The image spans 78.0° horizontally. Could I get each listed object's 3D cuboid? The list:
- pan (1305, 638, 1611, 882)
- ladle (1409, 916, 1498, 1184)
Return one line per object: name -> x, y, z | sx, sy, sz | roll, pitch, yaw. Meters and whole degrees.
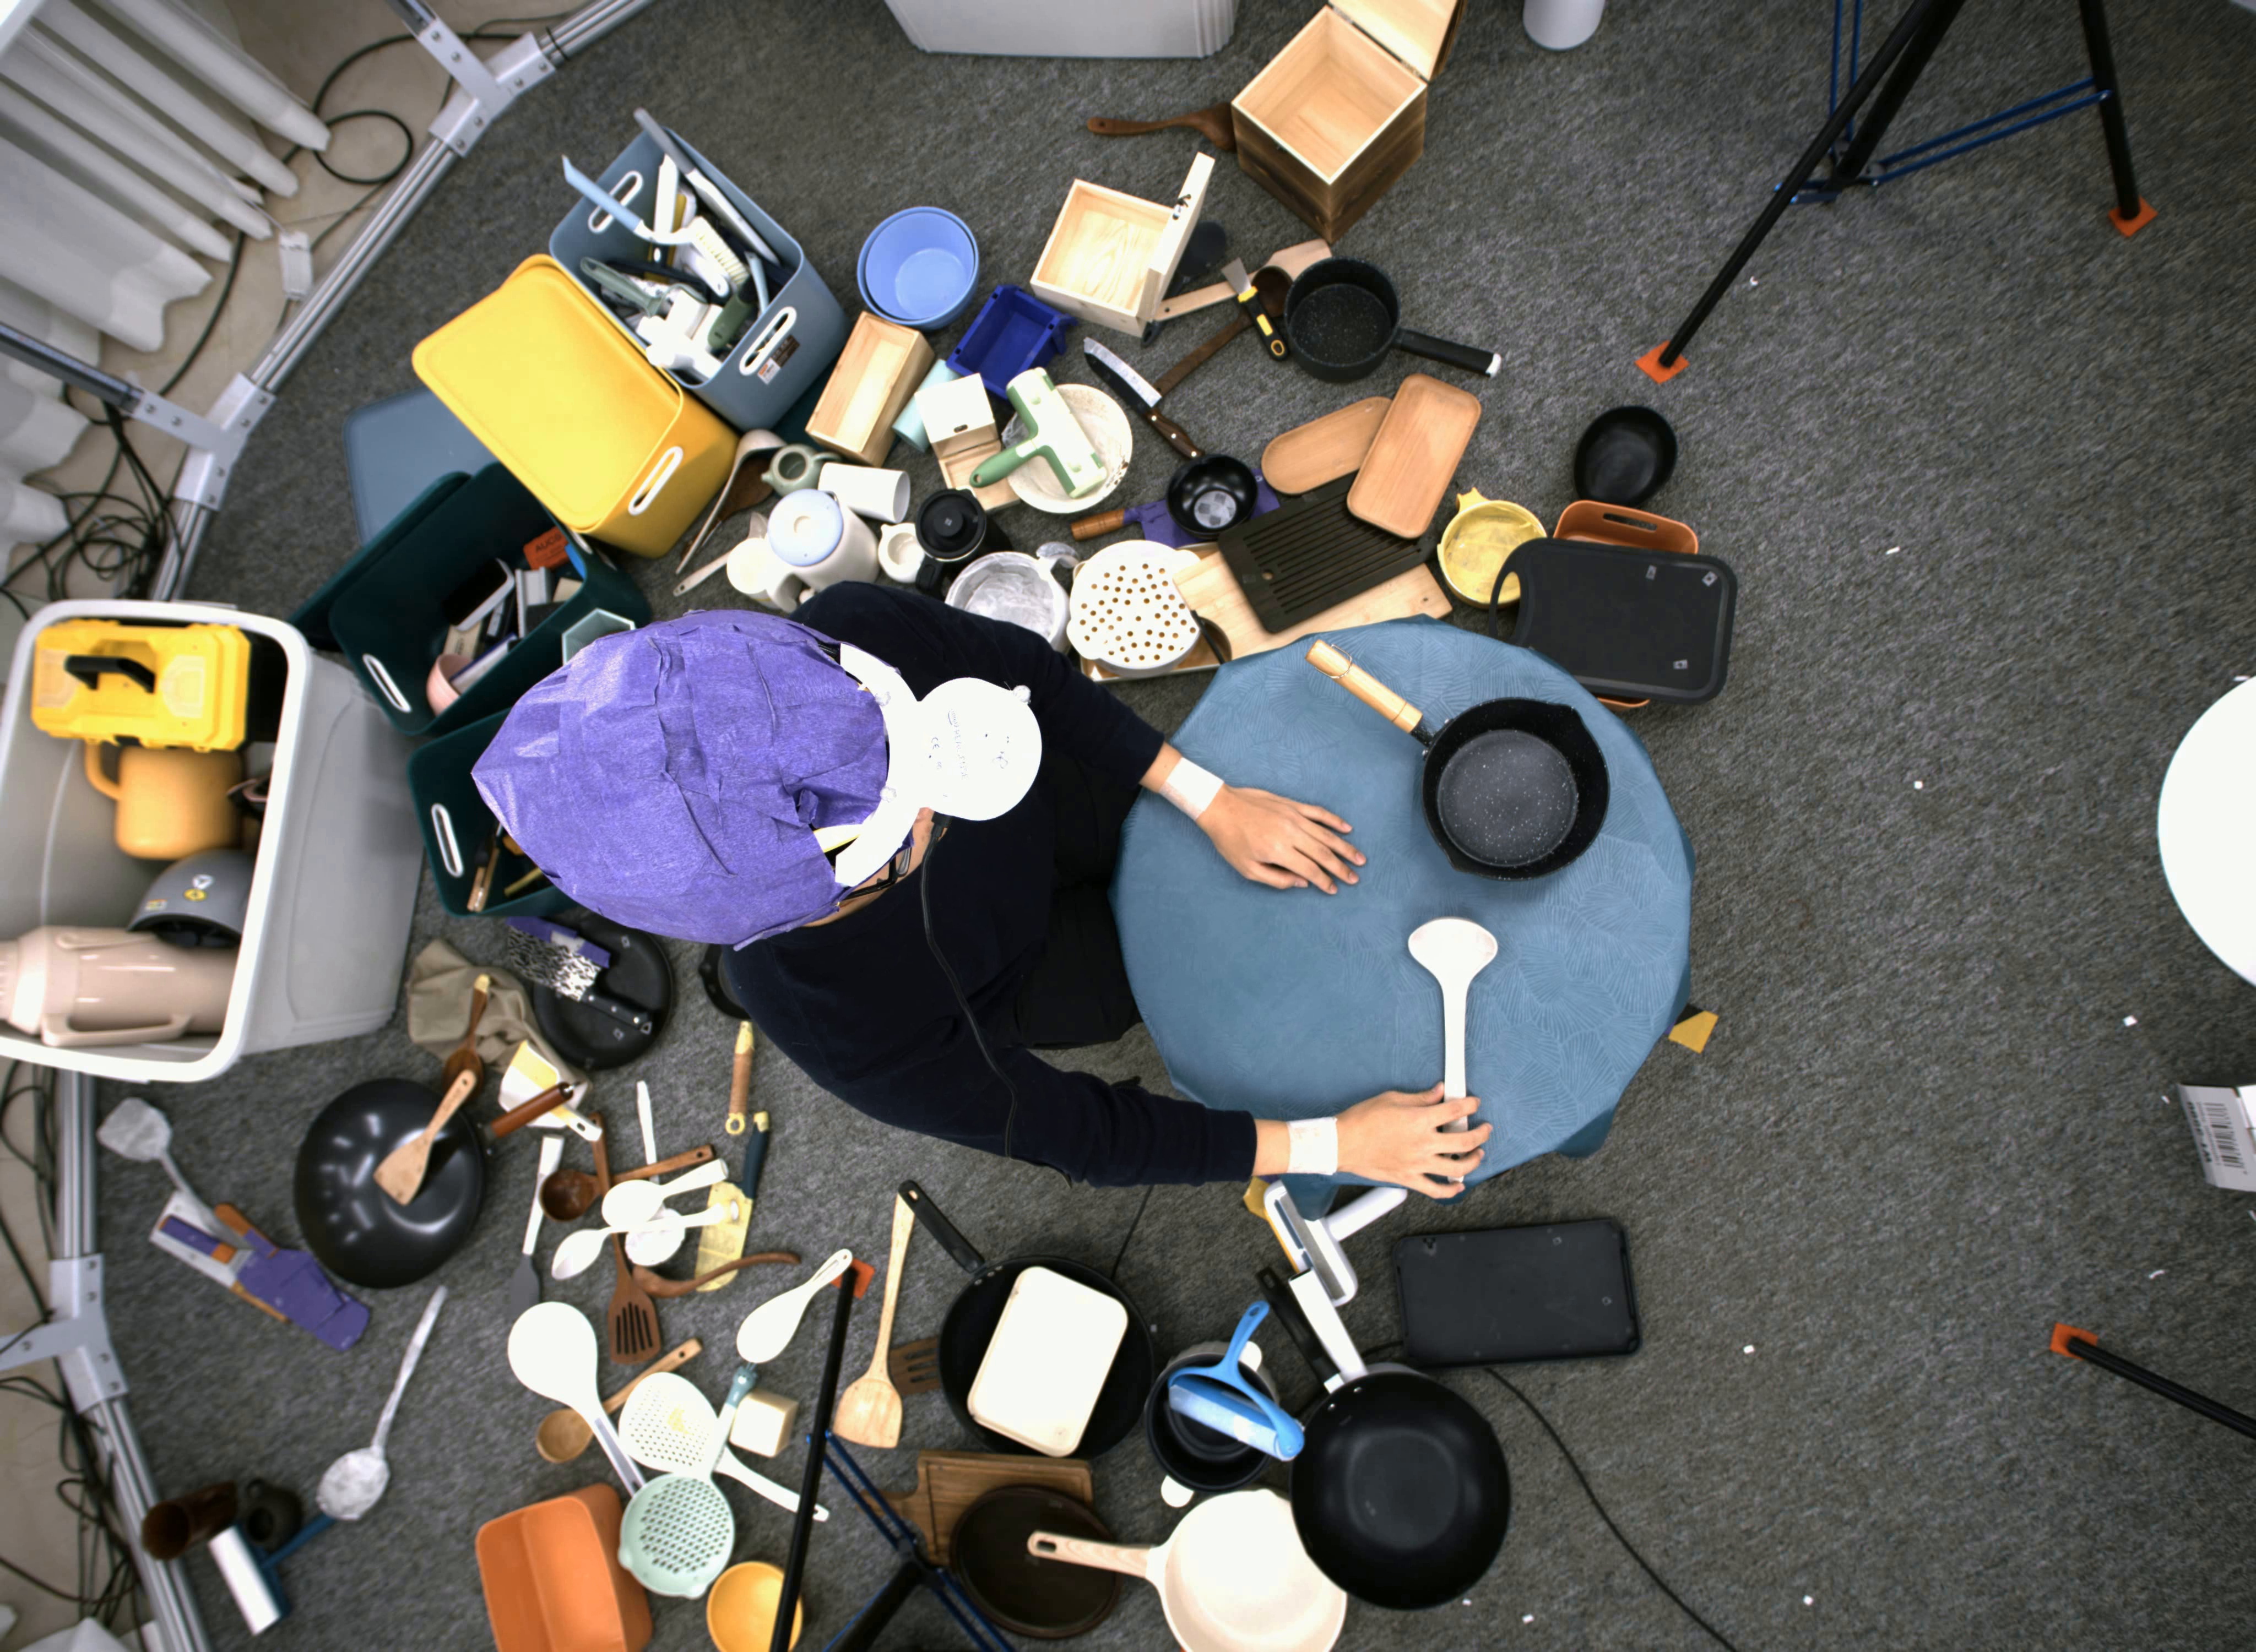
pan -> 0.325, -0.080, 1.403 | 0.342, 0.108, 0.208 | 35, 94, 9
ladle -> 0.332, 0.227, 1.405 | 0.090, 0.069, 0.273 | 0, 86, 12
